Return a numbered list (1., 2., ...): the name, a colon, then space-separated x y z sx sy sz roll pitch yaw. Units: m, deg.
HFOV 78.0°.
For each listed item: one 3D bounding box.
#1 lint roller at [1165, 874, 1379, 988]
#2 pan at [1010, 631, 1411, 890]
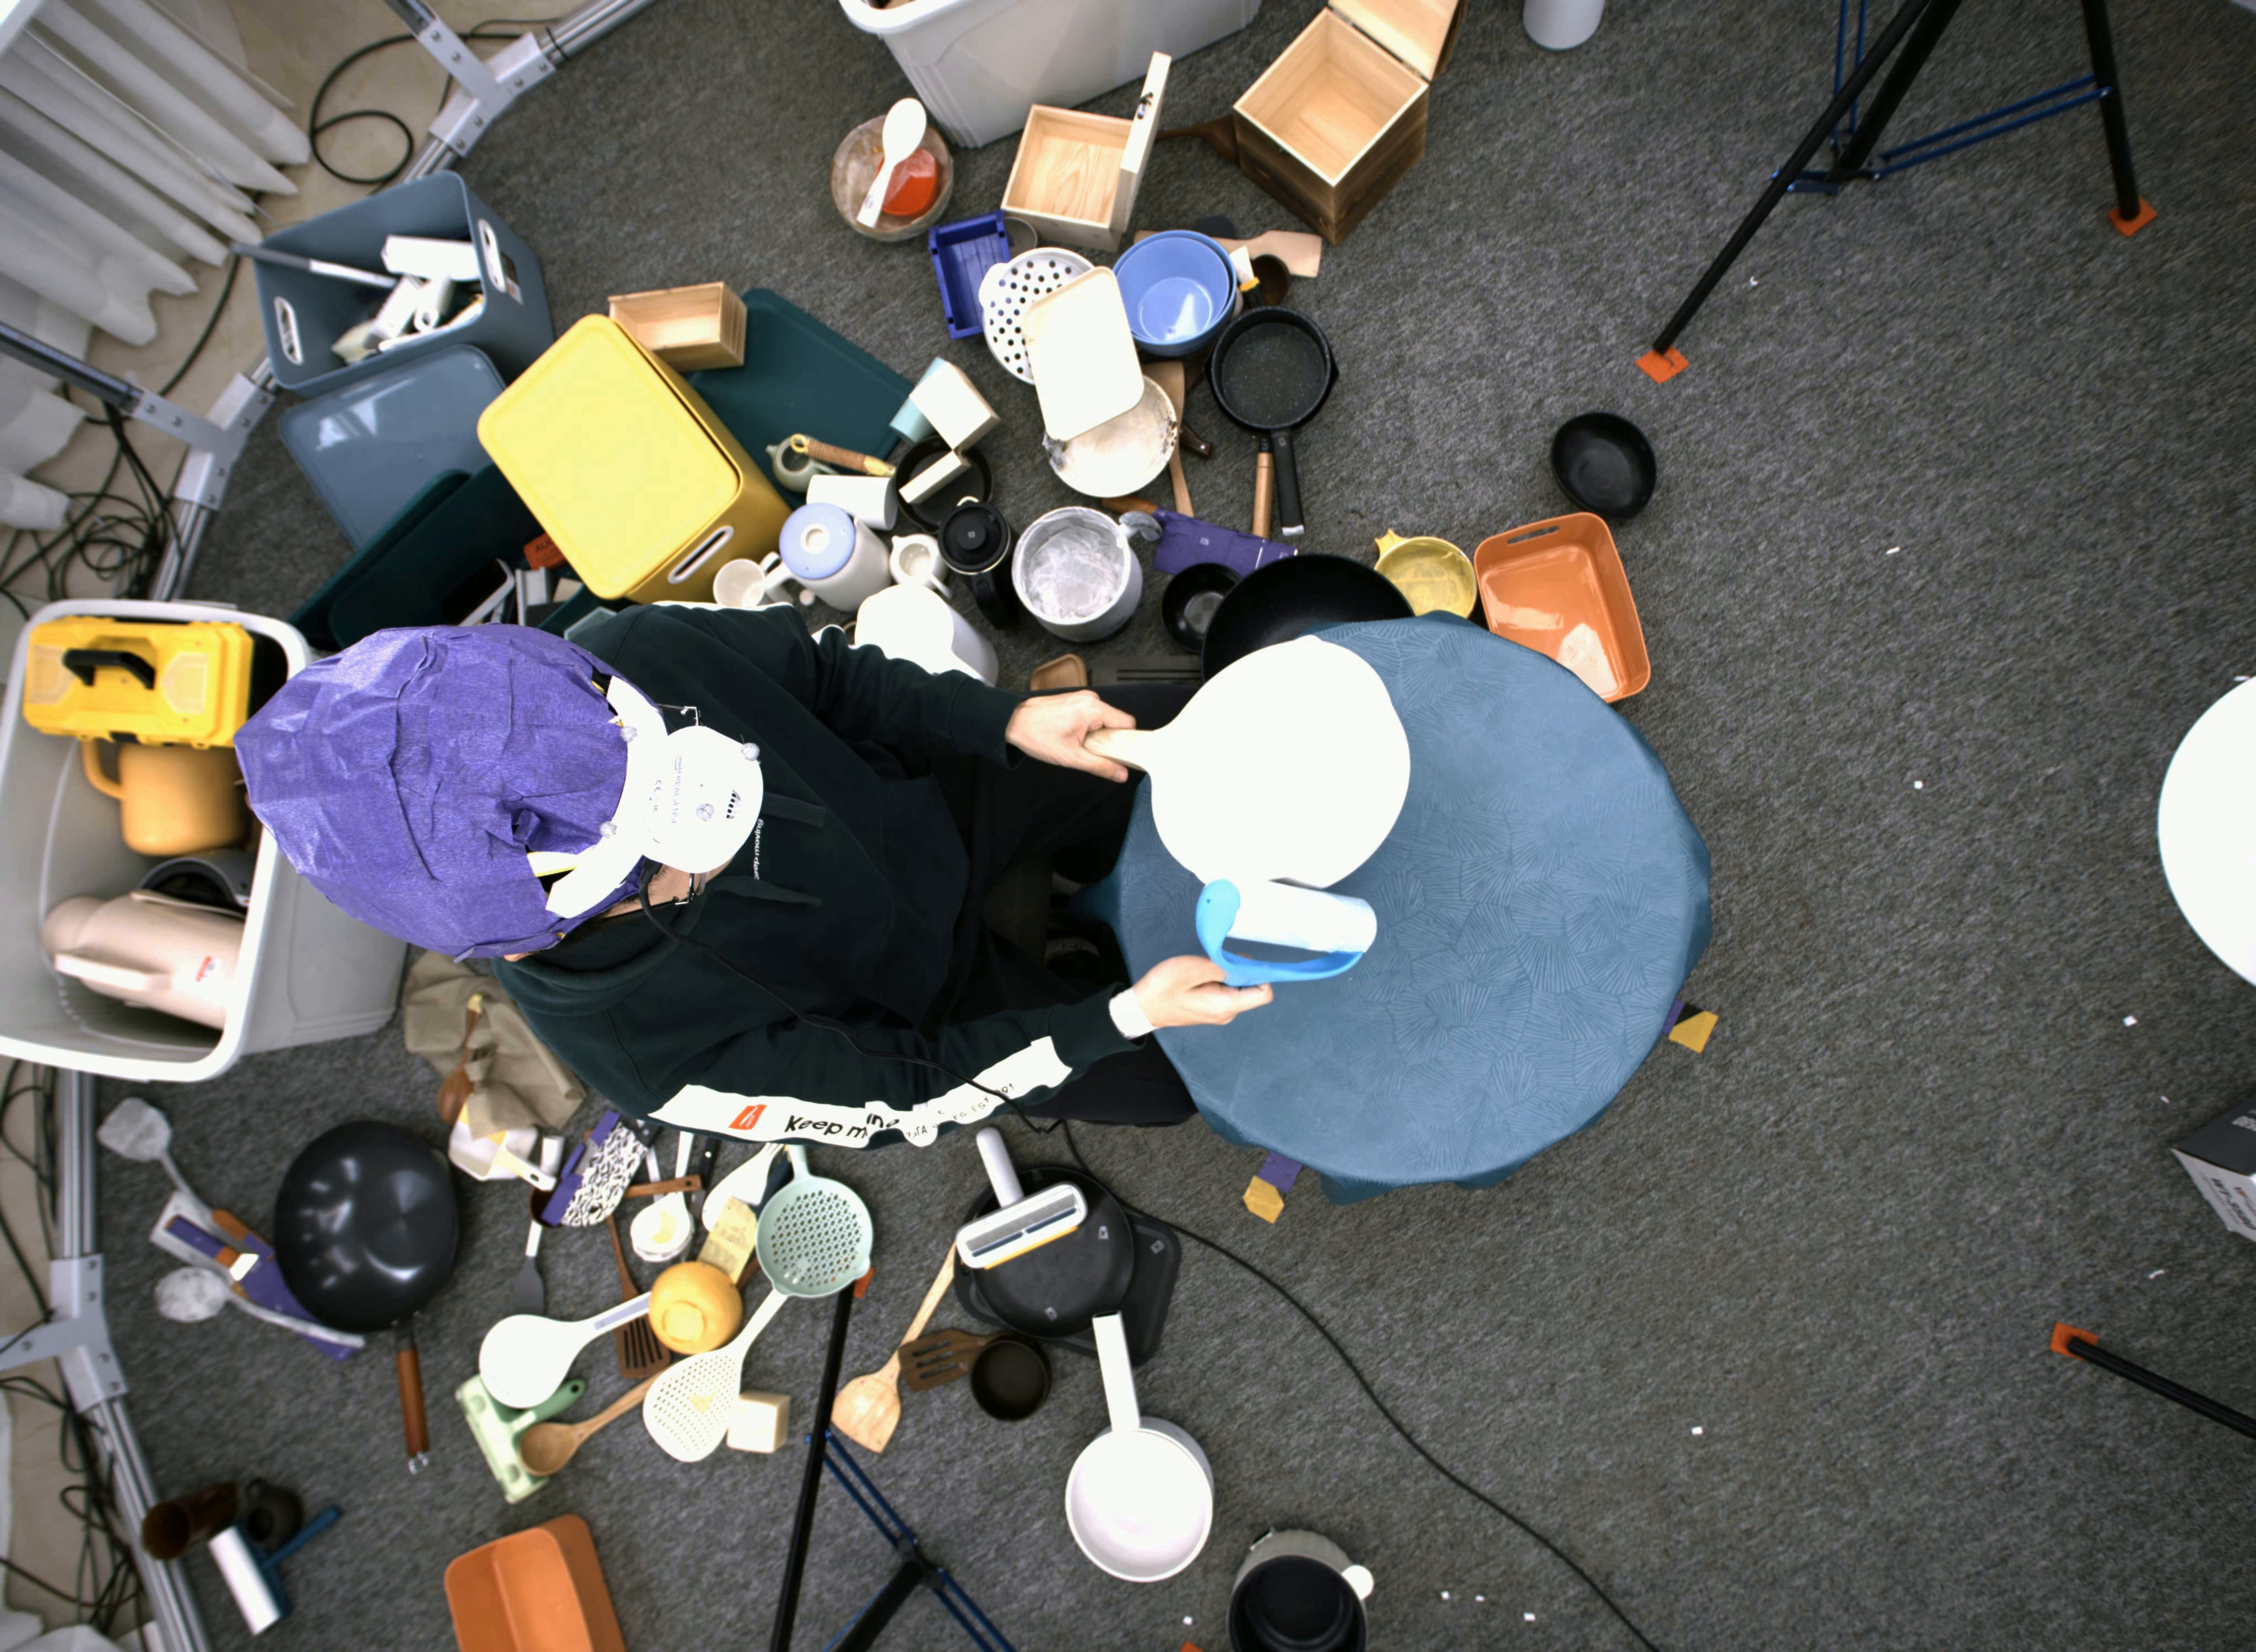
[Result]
1. lint roller: 0.107 0.112 1.253 0.184 0.228 0.066 -40 57 36
2. pan: 0.074 -0.060 1.345 0.437 0.103 0.260 7 72 40
